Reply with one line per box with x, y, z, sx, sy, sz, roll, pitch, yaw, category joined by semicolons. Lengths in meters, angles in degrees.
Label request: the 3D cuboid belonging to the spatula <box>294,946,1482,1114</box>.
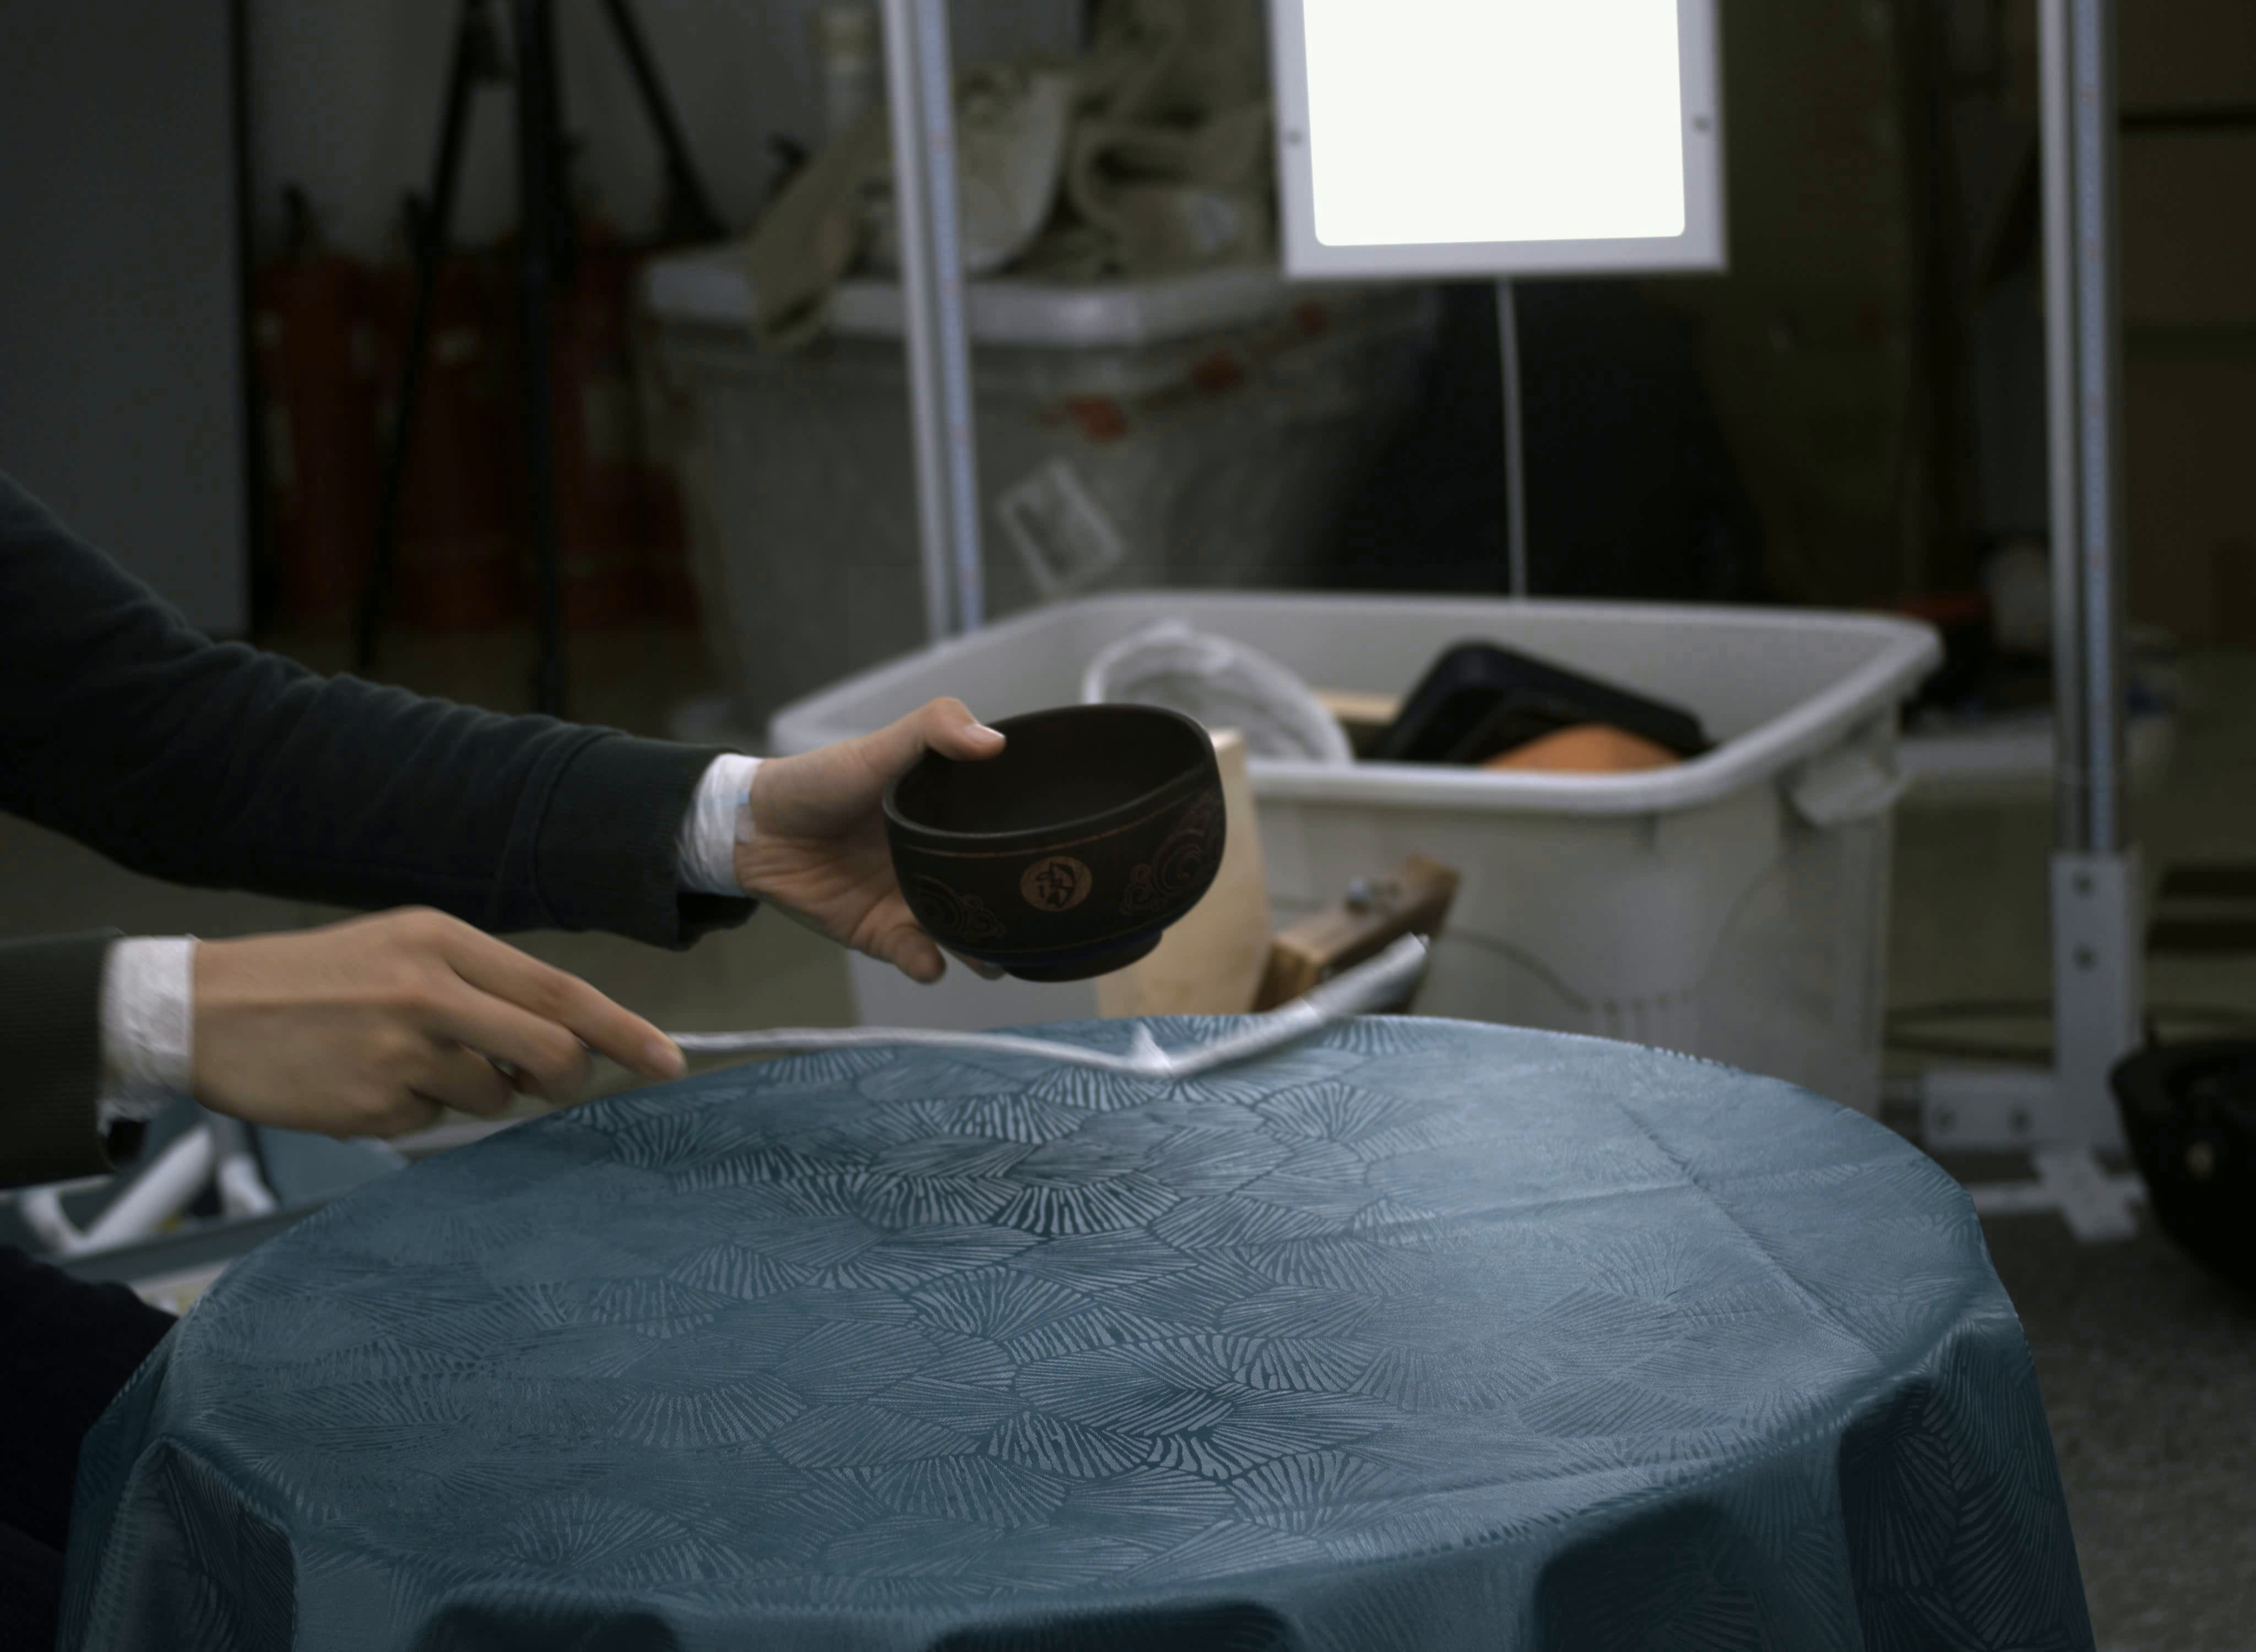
-0.074;0.063;1.669;0.365;0.045;0.098;-1;3;3;spatula

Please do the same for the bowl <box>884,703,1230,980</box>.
-0.021;0.010;1.890;0.118;0.070;0.118;-11;19;2;bowl
